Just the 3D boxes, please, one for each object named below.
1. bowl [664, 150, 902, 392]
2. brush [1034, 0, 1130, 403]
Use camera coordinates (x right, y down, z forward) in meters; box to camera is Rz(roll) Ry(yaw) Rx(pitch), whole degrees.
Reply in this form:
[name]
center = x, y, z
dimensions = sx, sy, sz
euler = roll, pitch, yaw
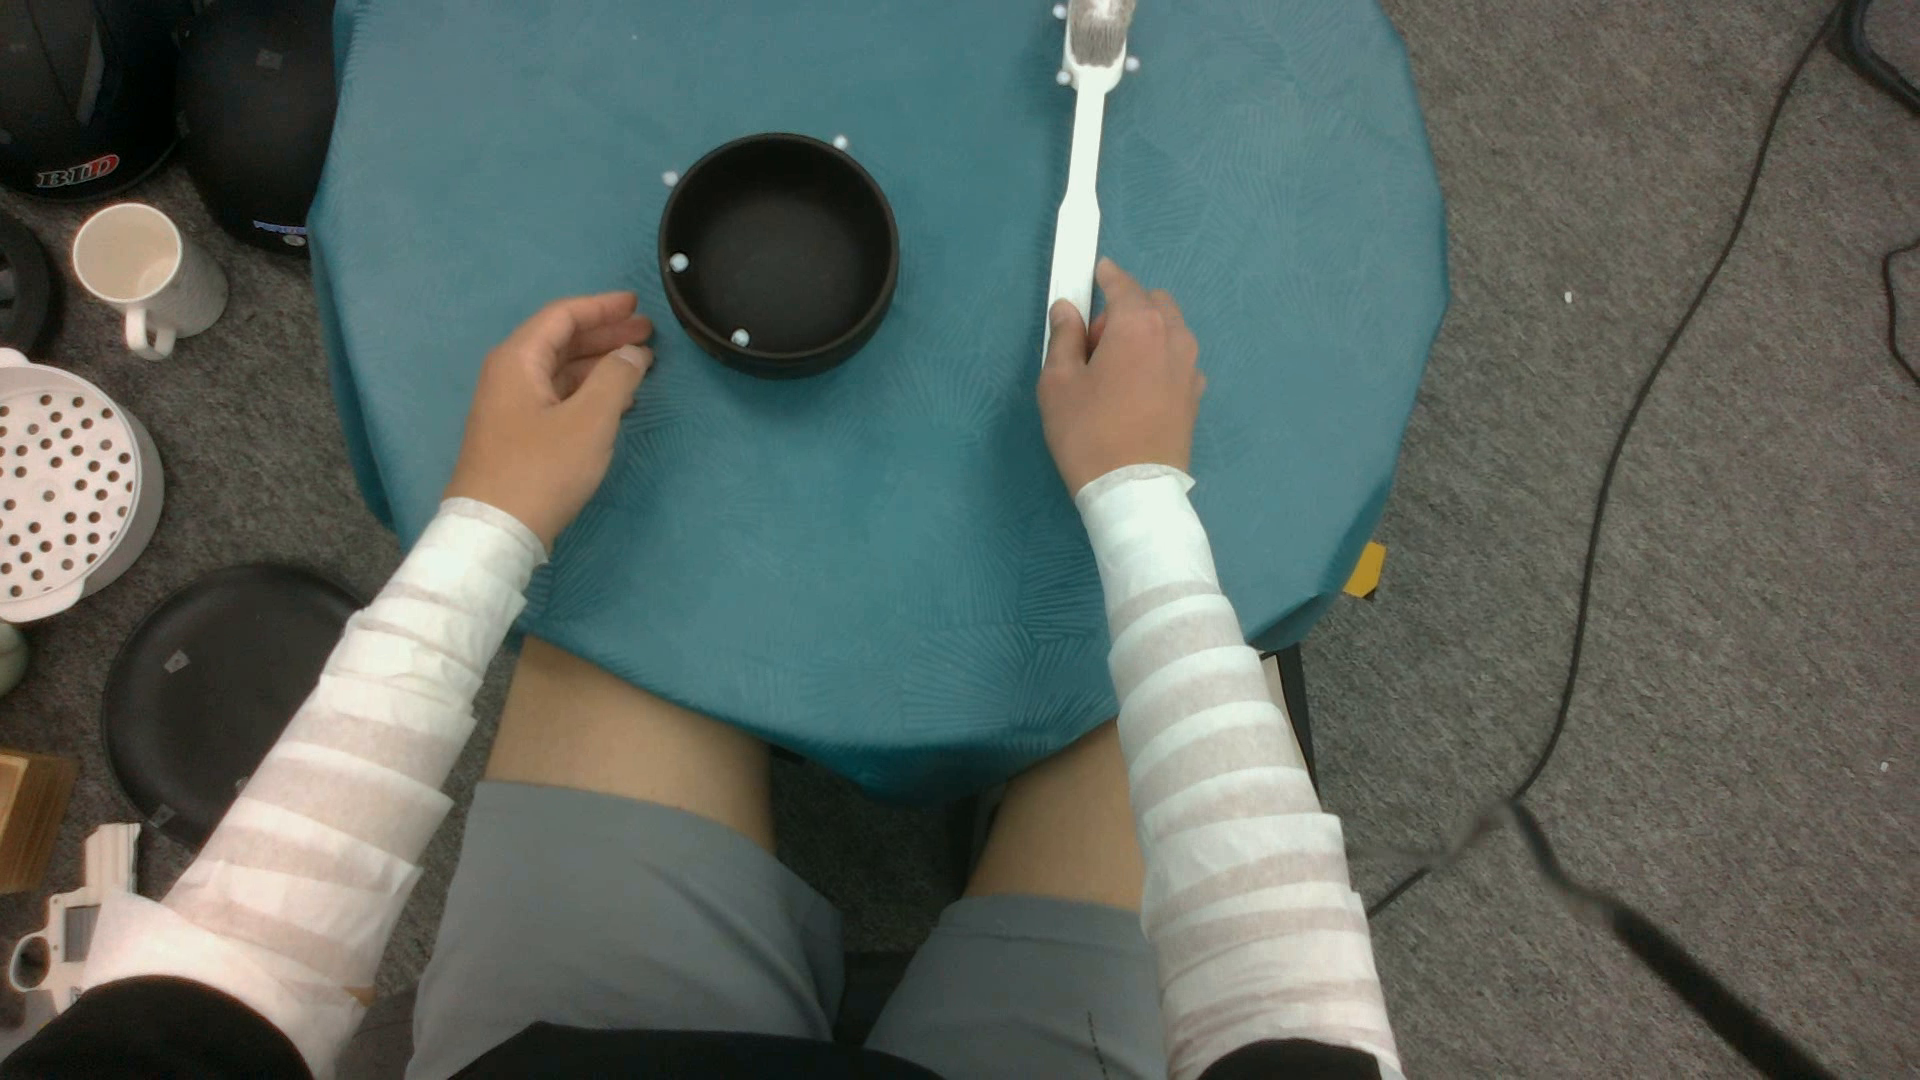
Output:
[bowl]
center = -0.090, -0.132, 0.705
dimensions = 0.118, 0.069, 0.118
euler = 1, 81, -7
[brush]
center = 0.065, -0.195, 0.744
dimensions = 0.034, 0.050, 0.244
euler = 7, 76, 0
